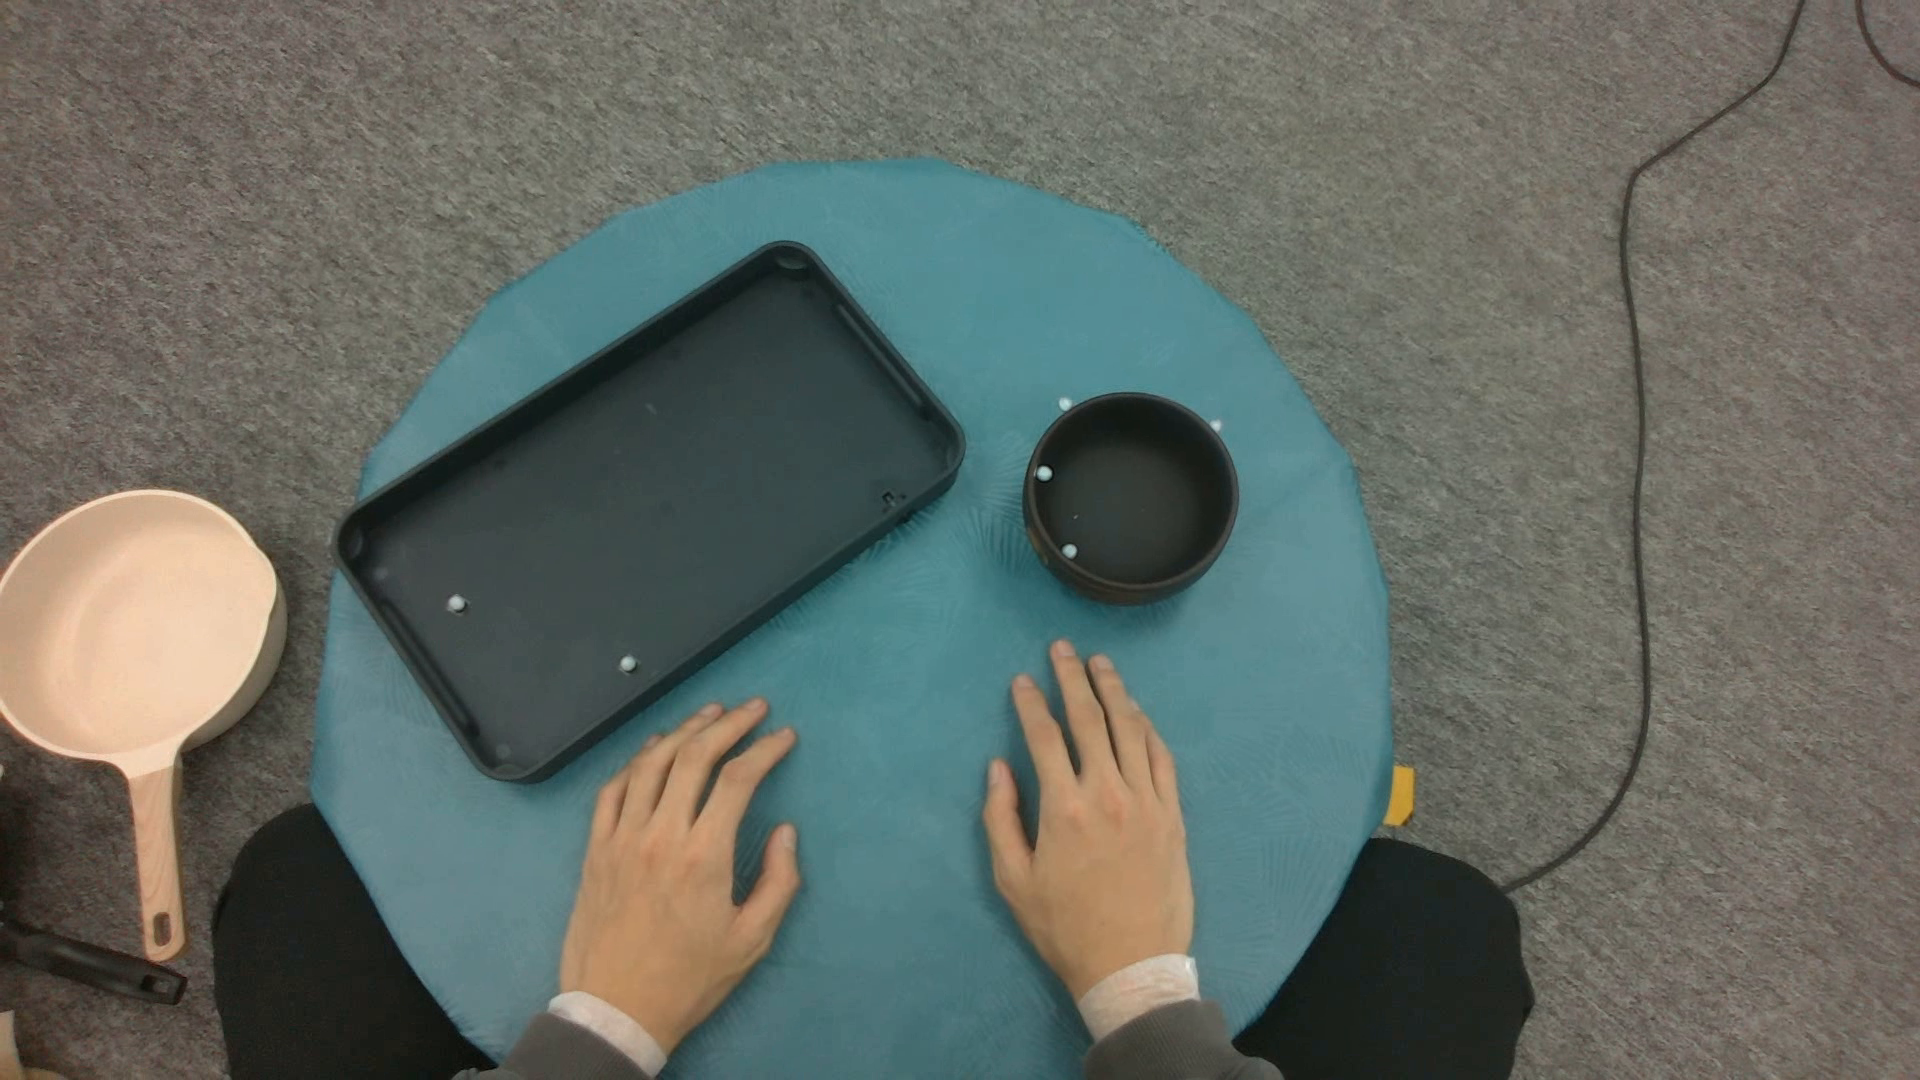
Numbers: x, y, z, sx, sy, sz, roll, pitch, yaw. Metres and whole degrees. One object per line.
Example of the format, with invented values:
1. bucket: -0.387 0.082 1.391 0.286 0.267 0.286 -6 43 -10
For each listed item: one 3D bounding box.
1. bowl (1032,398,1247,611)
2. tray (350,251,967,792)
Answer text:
1. bowl: 0.098 -0.016 0.781 0.118 0.069 0.118 1 73 -2
2. tray: -0.167 -0.017 0.793 0.319 0.037 0.184 -38 77 -14
